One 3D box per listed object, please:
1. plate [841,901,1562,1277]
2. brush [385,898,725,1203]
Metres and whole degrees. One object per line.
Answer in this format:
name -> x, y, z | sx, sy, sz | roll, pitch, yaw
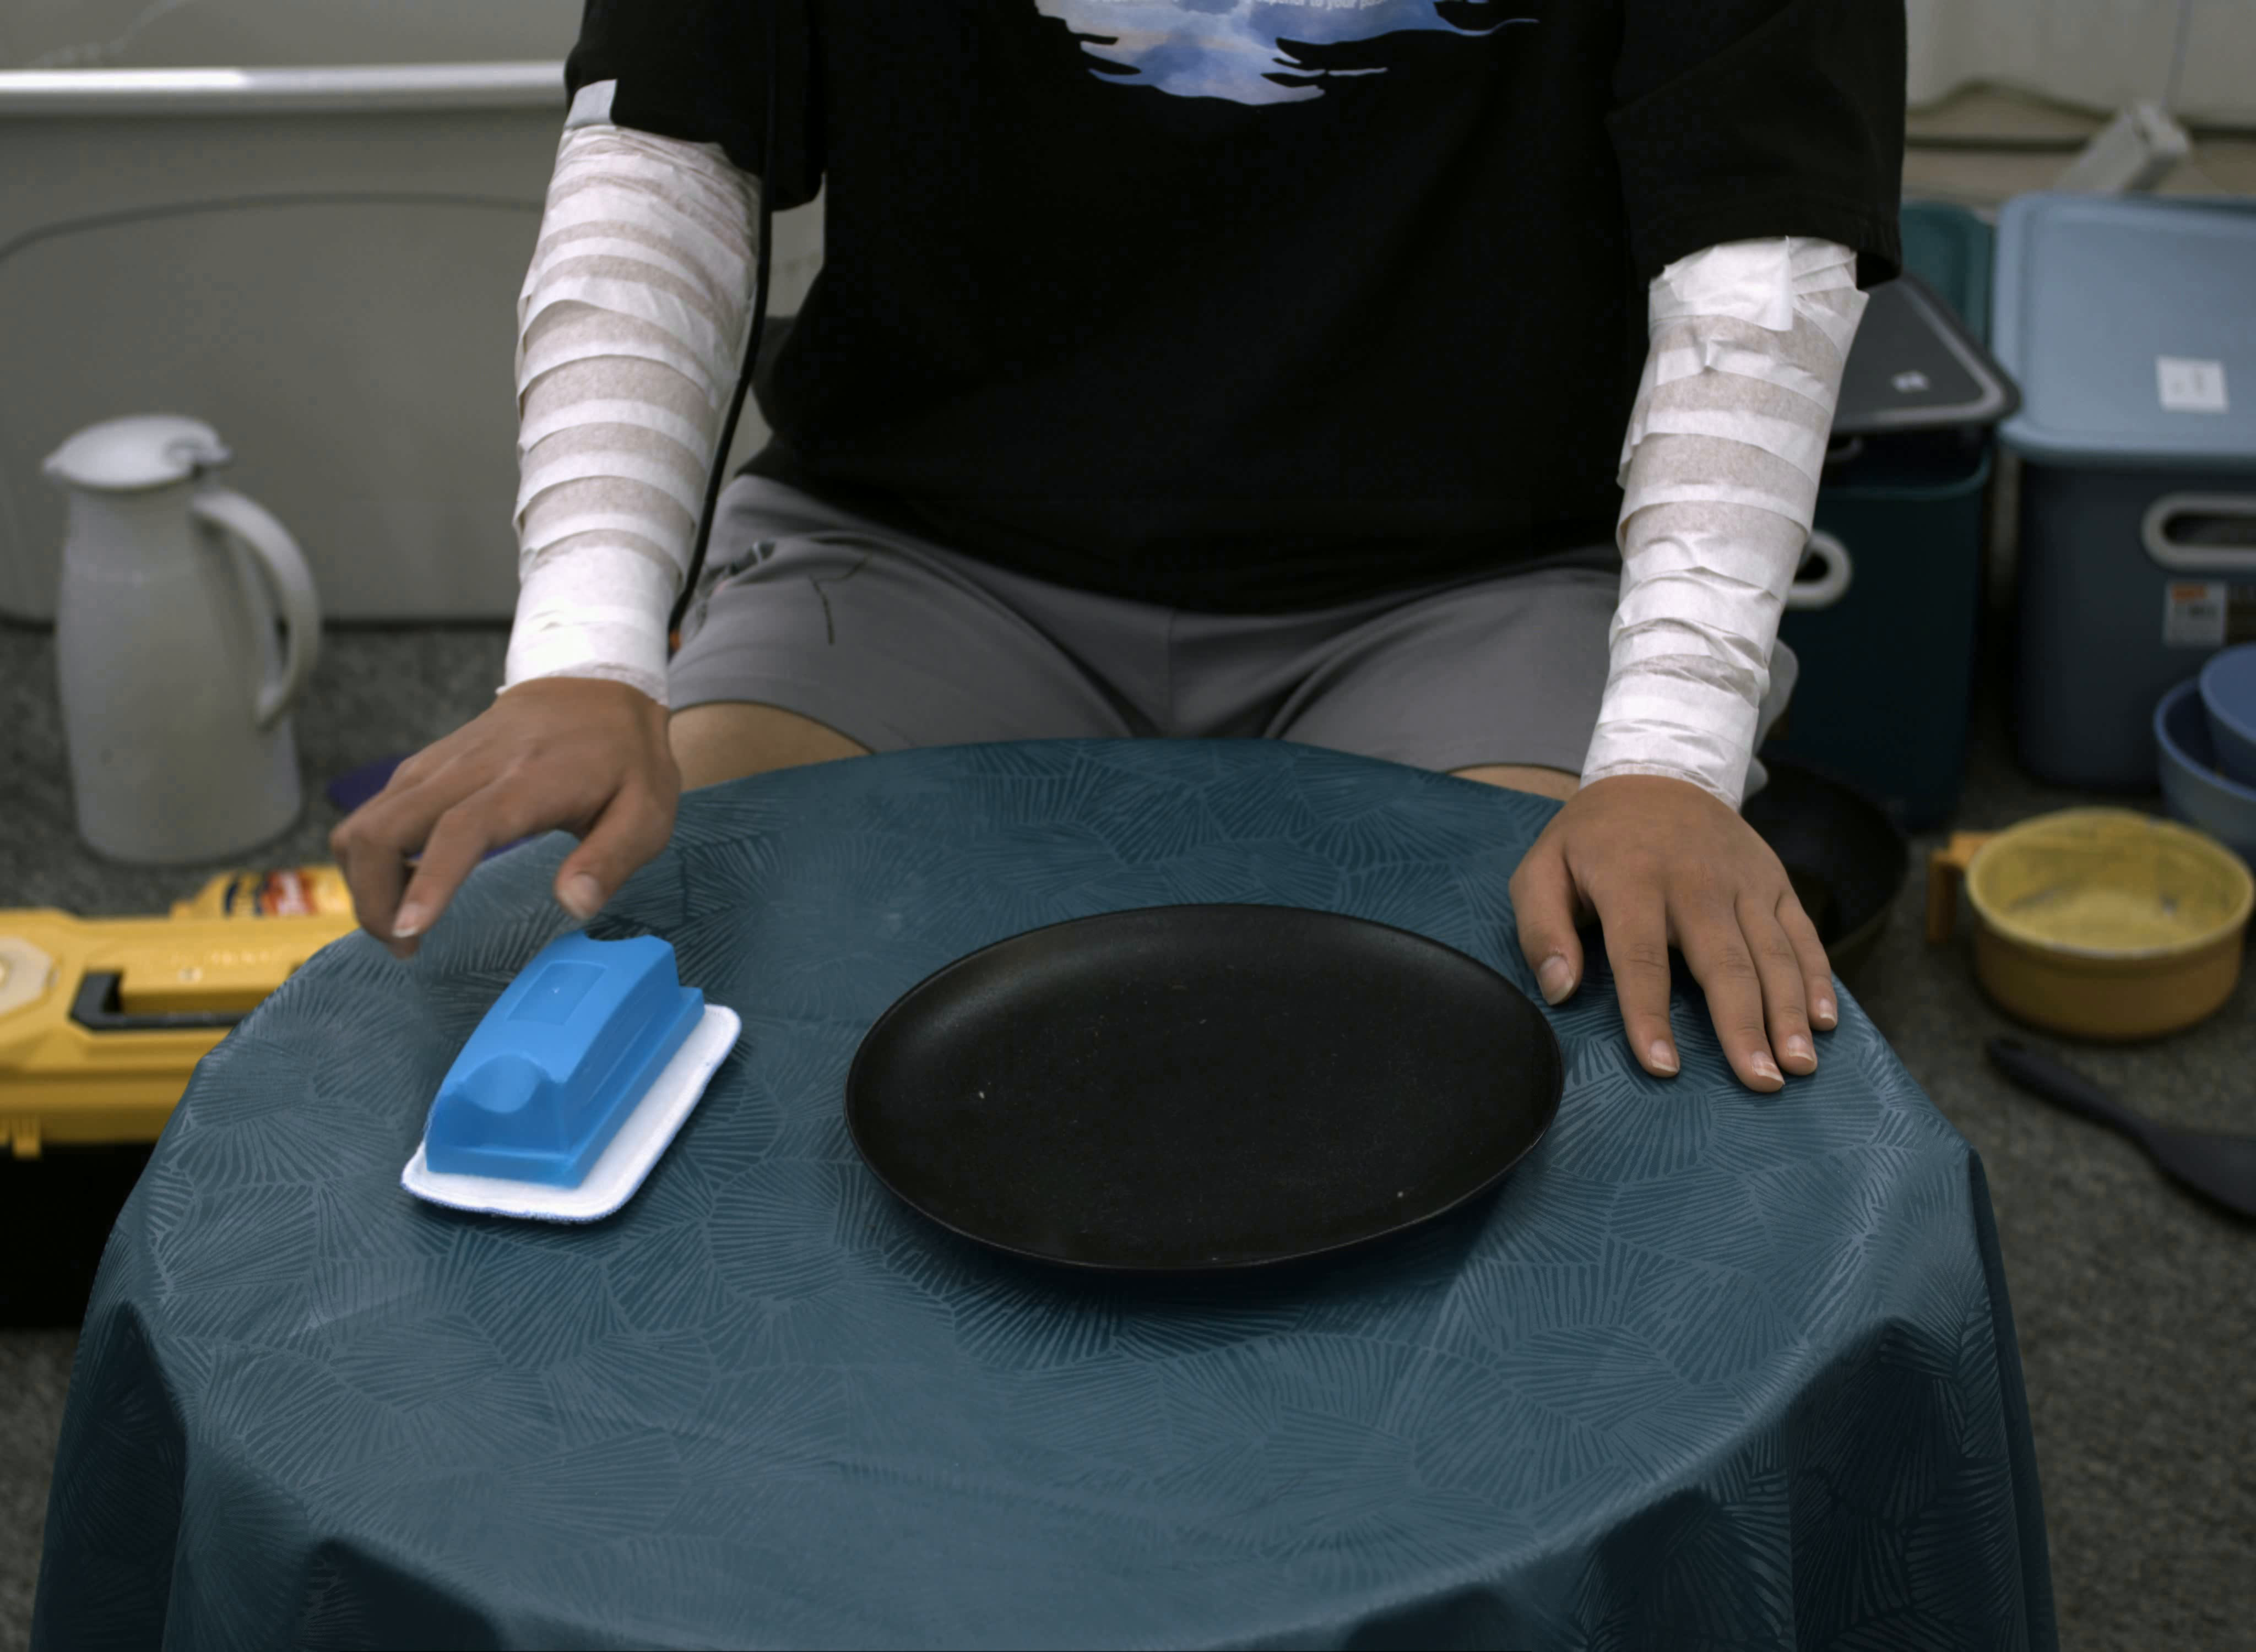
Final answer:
plate -> 0.025, 0.092, 1.890 | 0.243, 0.023, 0.248 | -2, 27, 2
brush -> -0.194, 0.071, 1.911 | 0.083, 0.055, 0.146 | 8, 32, 12
